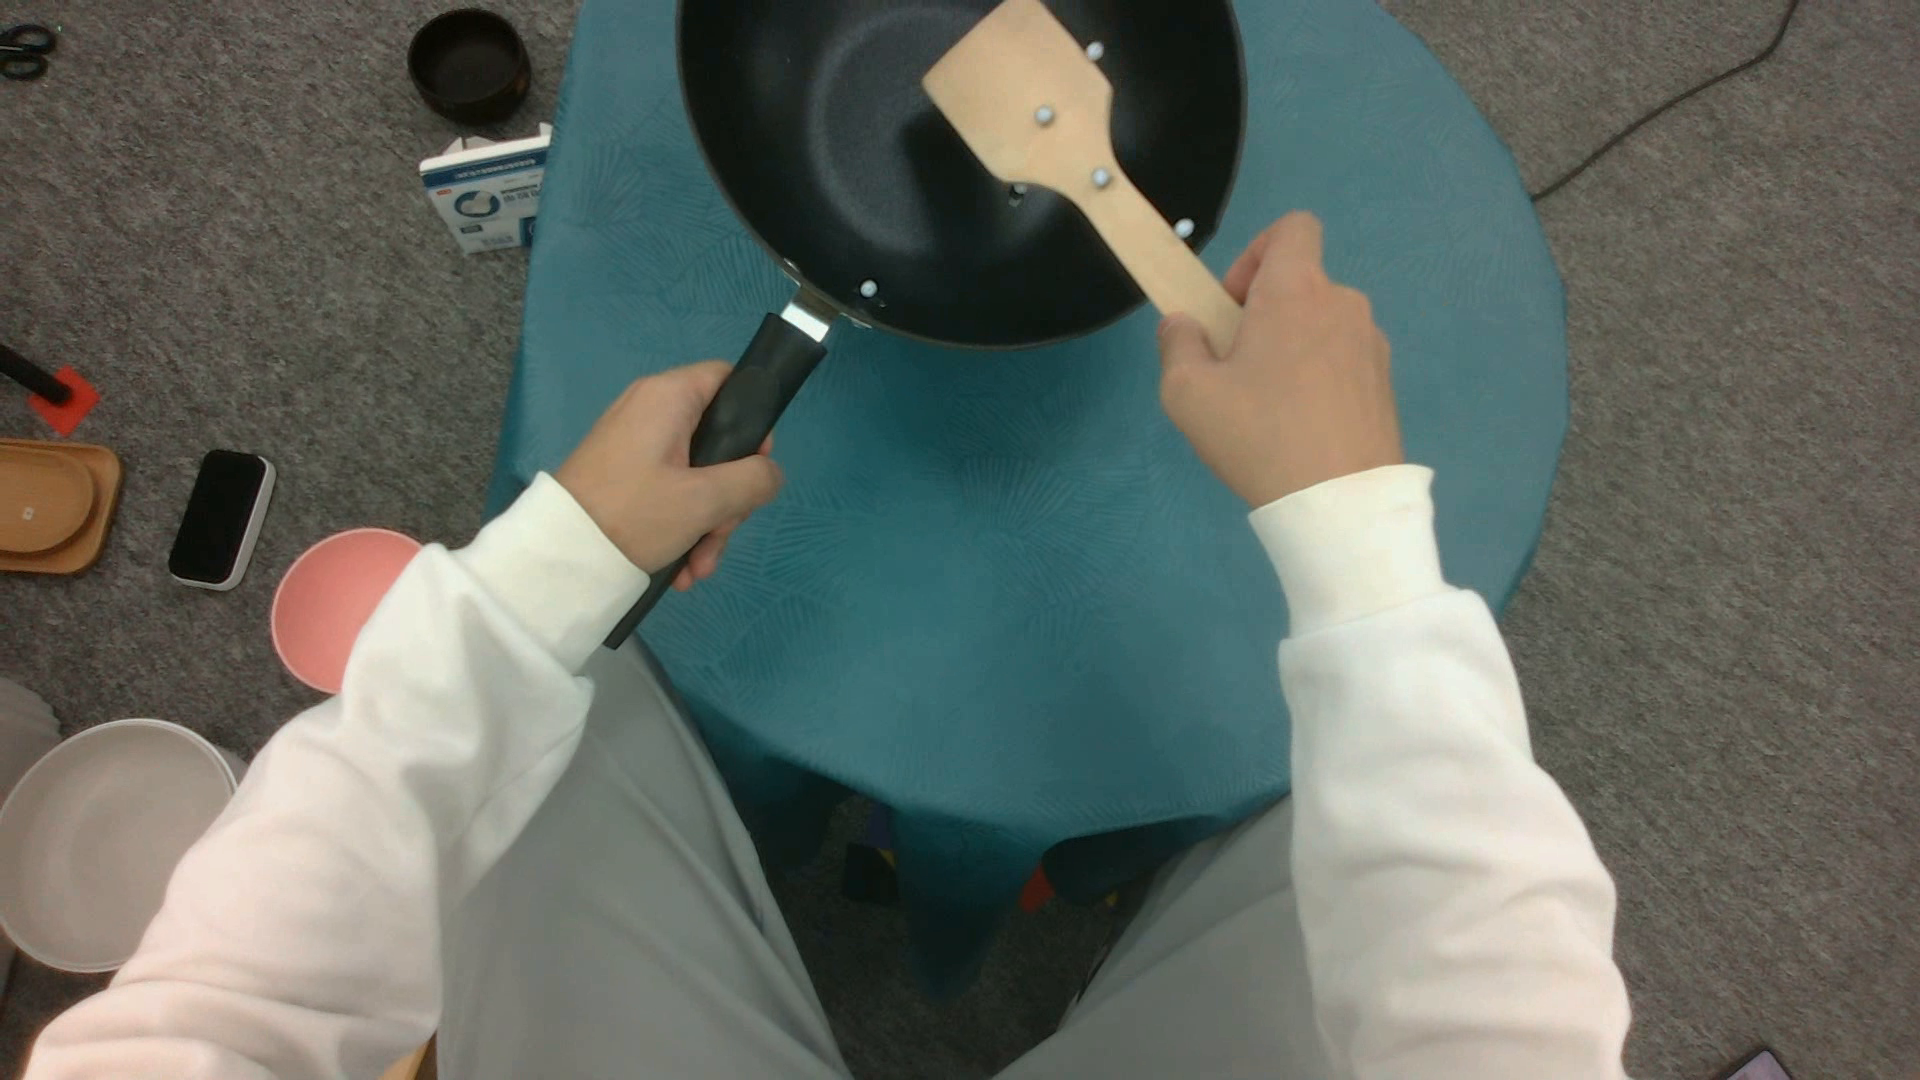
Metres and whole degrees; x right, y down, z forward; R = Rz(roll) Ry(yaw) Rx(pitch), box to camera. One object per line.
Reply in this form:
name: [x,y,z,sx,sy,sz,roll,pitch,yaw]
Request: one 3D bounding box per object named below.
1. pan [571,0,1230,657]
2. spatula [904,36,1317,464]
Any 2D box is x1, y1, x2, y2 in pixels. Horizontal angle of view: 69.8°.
pan: [-0.051,-0.141,0.700,0.288,0.086,0.464,31,79,-5]
spatula: [0.070,-0.141,0.650,0.072,0.010,0.293,-41,59,8]
